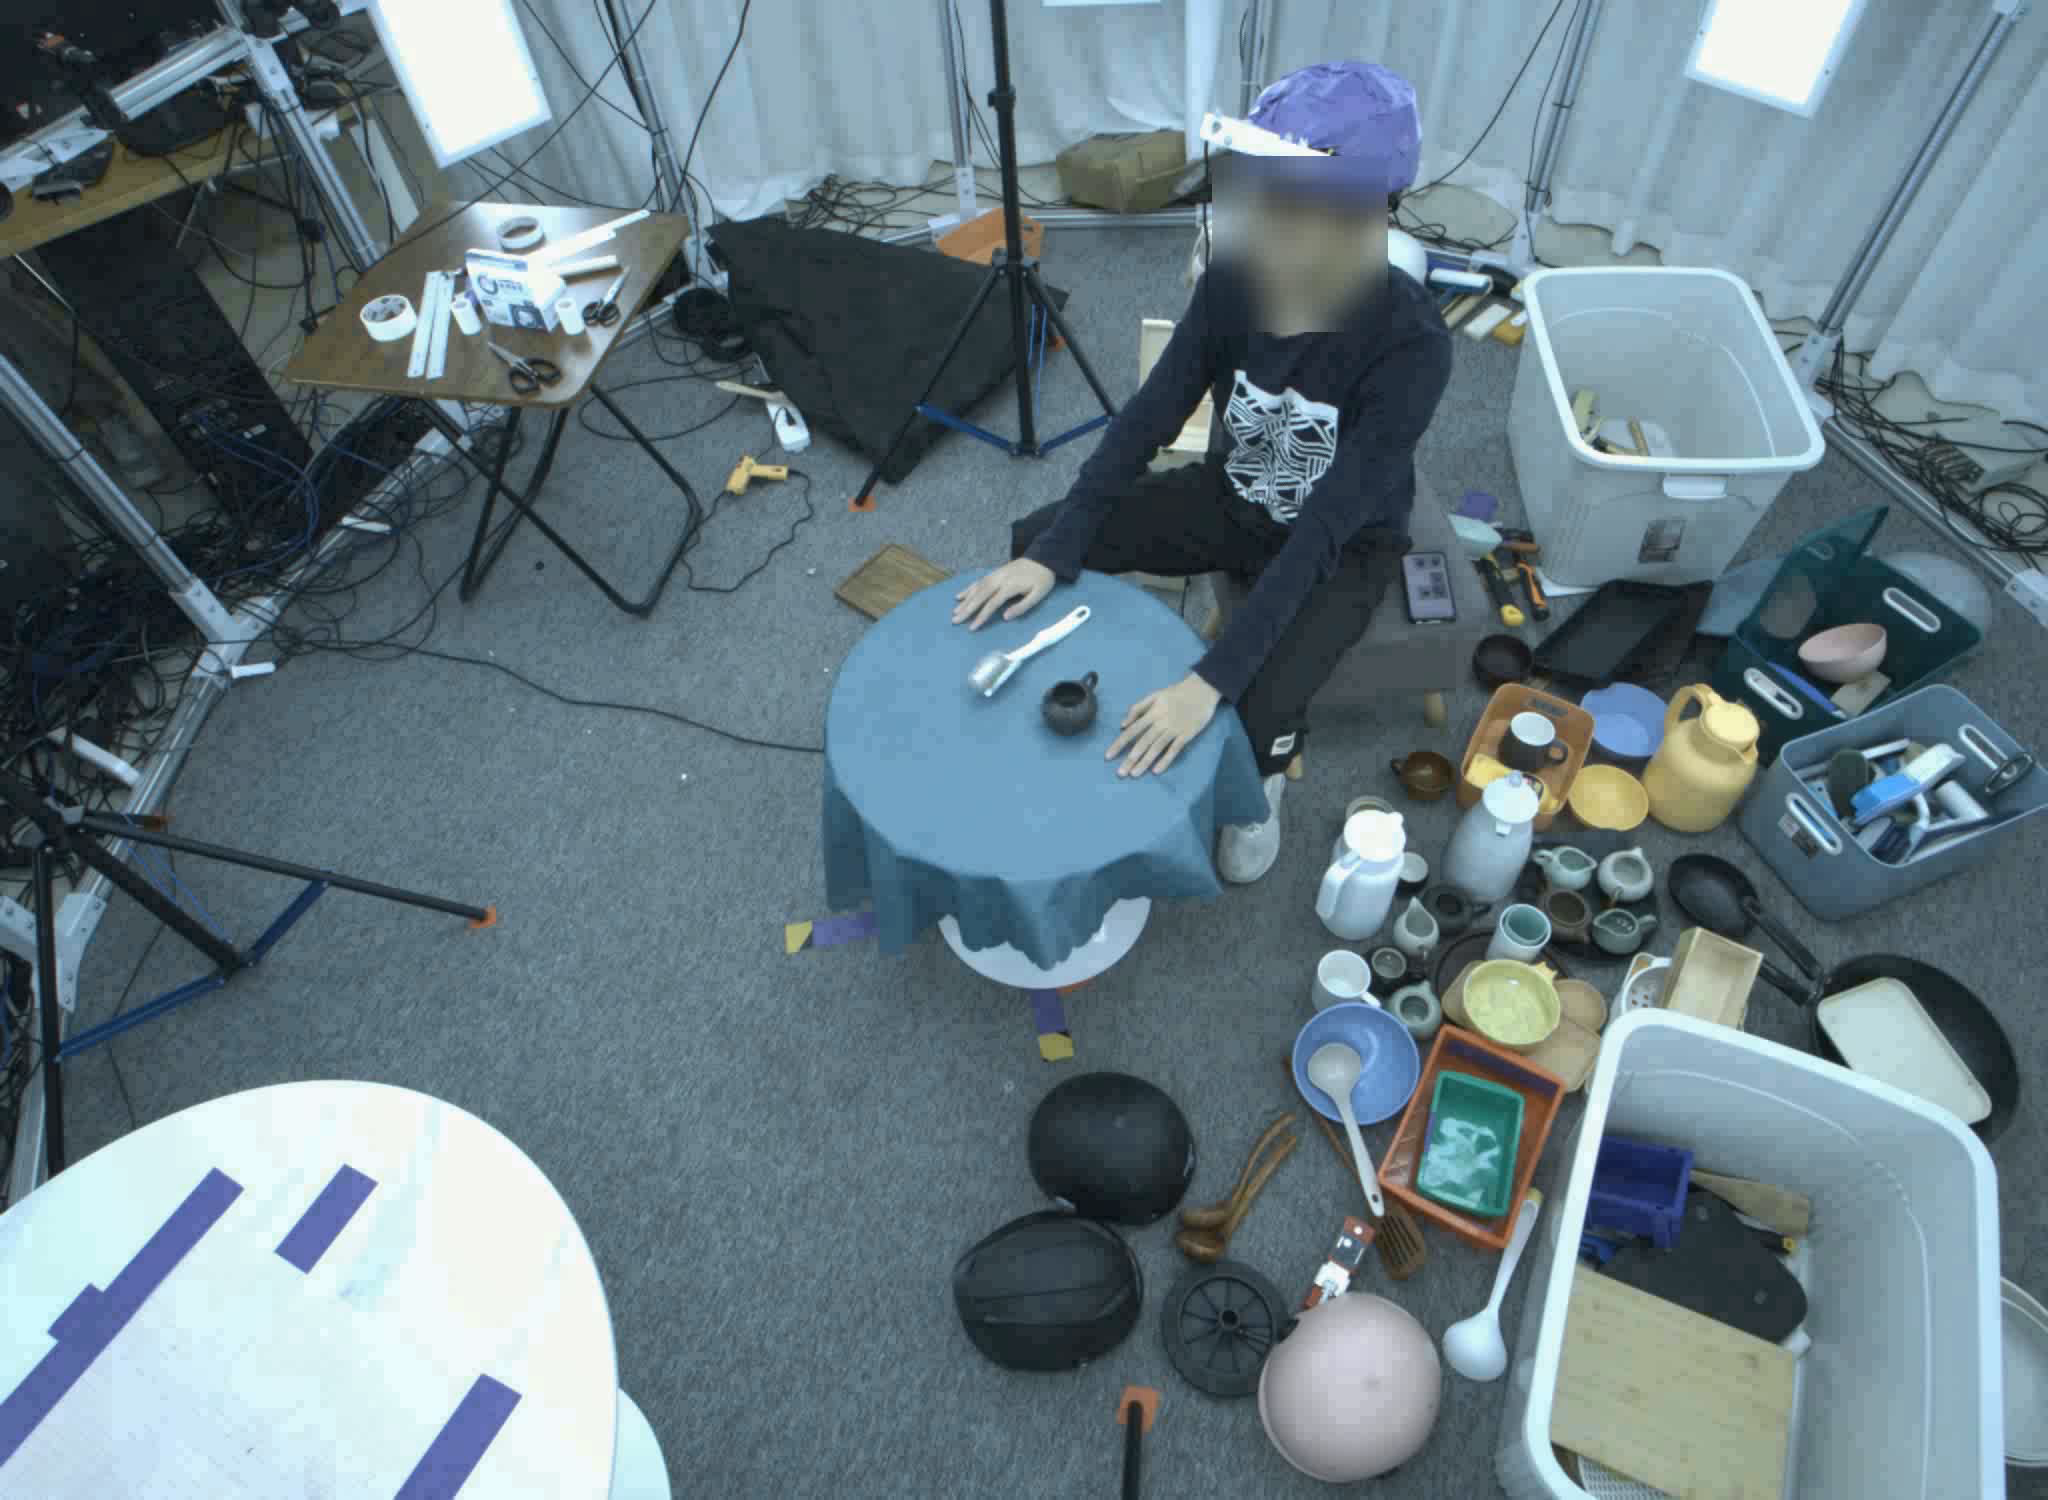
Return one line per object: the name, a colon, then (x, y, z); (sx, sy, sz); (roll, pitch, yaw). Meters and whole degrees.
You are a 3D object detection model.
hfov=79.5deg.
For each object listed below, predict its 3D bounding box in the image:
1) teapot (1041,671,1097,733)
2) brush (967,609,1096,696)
teapot: (0.073, -0.073, 1.798); (0.081, 0.053, 0.114); (30, 61, 23)
brush: (0.015, -0.162, 1.865); (0.245, 0.051, 0.033); (-36, 56, -21)
